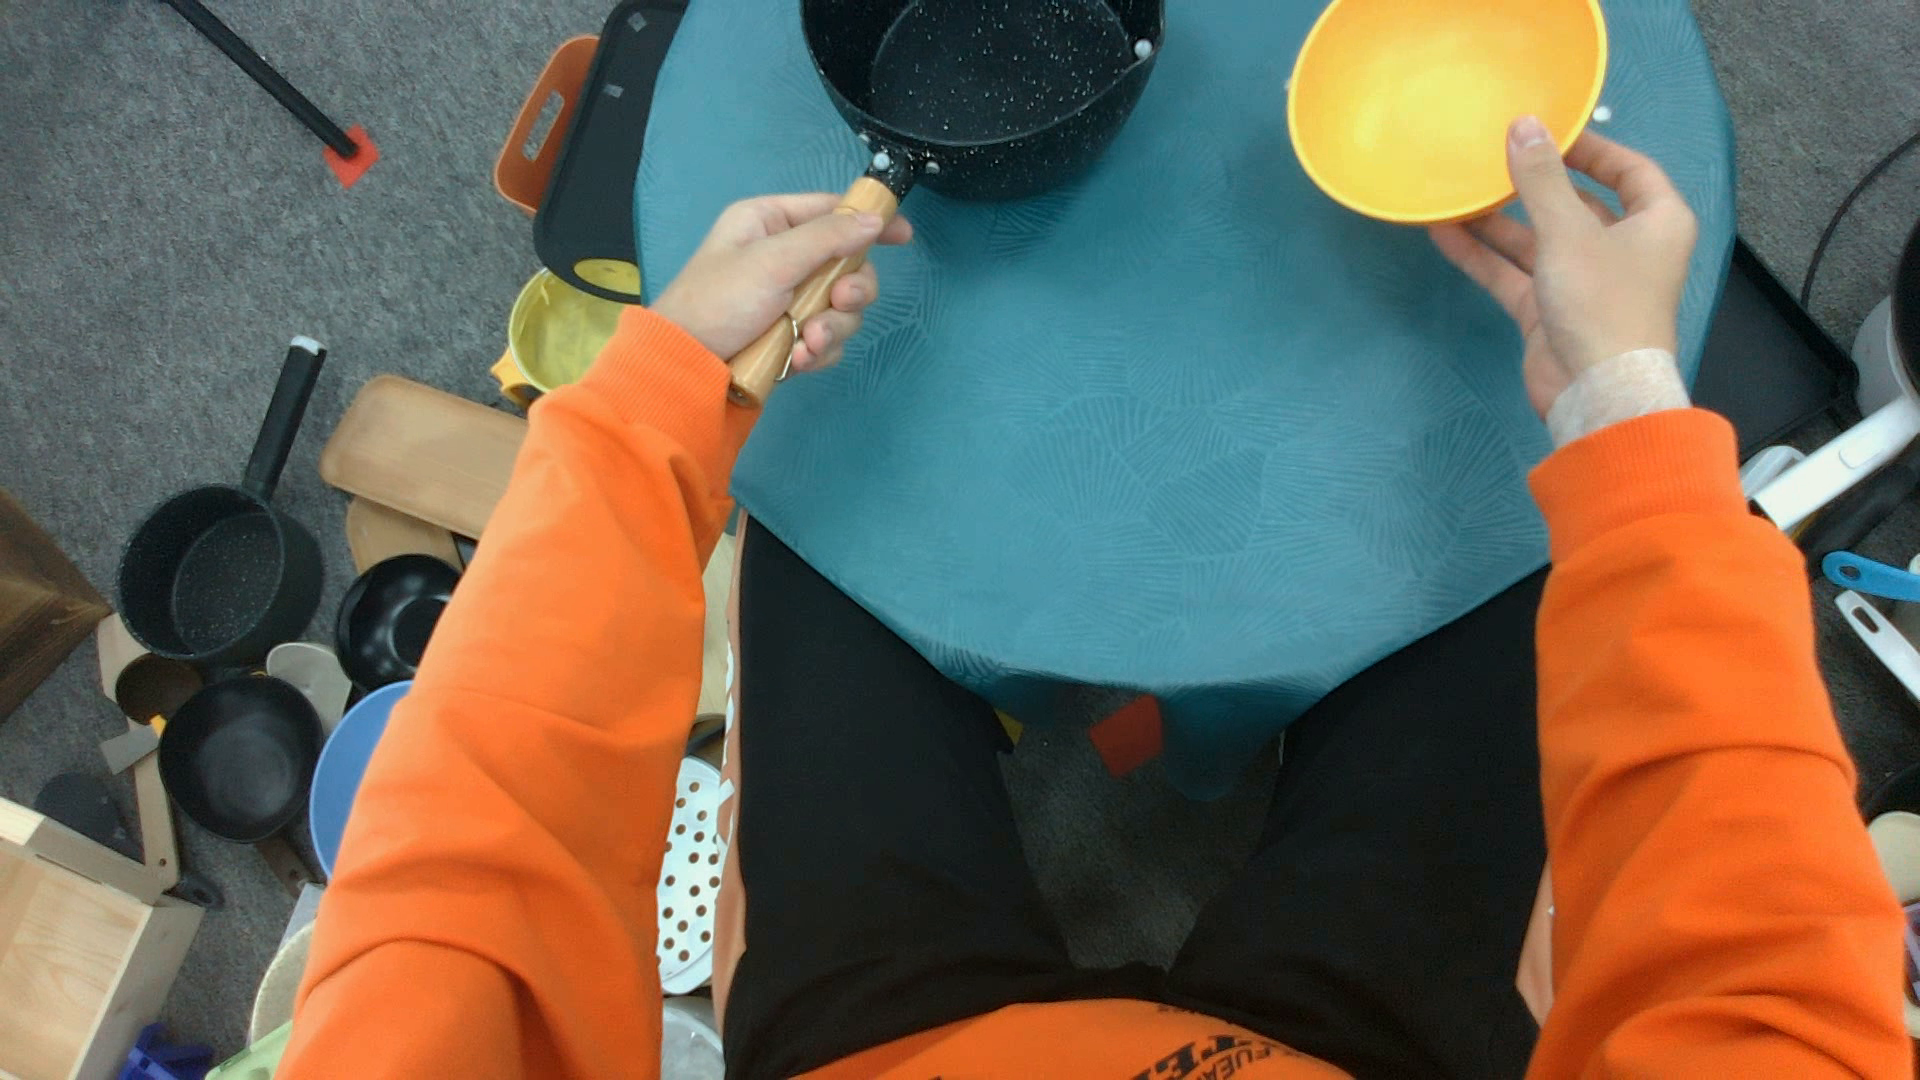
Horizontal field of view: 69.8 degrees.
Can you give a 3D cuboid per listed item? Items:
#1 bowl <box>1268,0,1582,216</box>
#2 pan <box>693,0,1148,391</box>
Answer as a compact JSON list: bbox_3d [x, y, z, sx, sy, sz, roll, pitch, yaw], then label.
[{"bbox_3d":[0.232,-0.219,0.682,0.145,0.060,0.145,-7,75,28],"label":"bowl"},{"bbox_3d":[-0.029,-0.207,0.703,0.207,0.108,0.343,23,77,13],"label":"pan"}]
